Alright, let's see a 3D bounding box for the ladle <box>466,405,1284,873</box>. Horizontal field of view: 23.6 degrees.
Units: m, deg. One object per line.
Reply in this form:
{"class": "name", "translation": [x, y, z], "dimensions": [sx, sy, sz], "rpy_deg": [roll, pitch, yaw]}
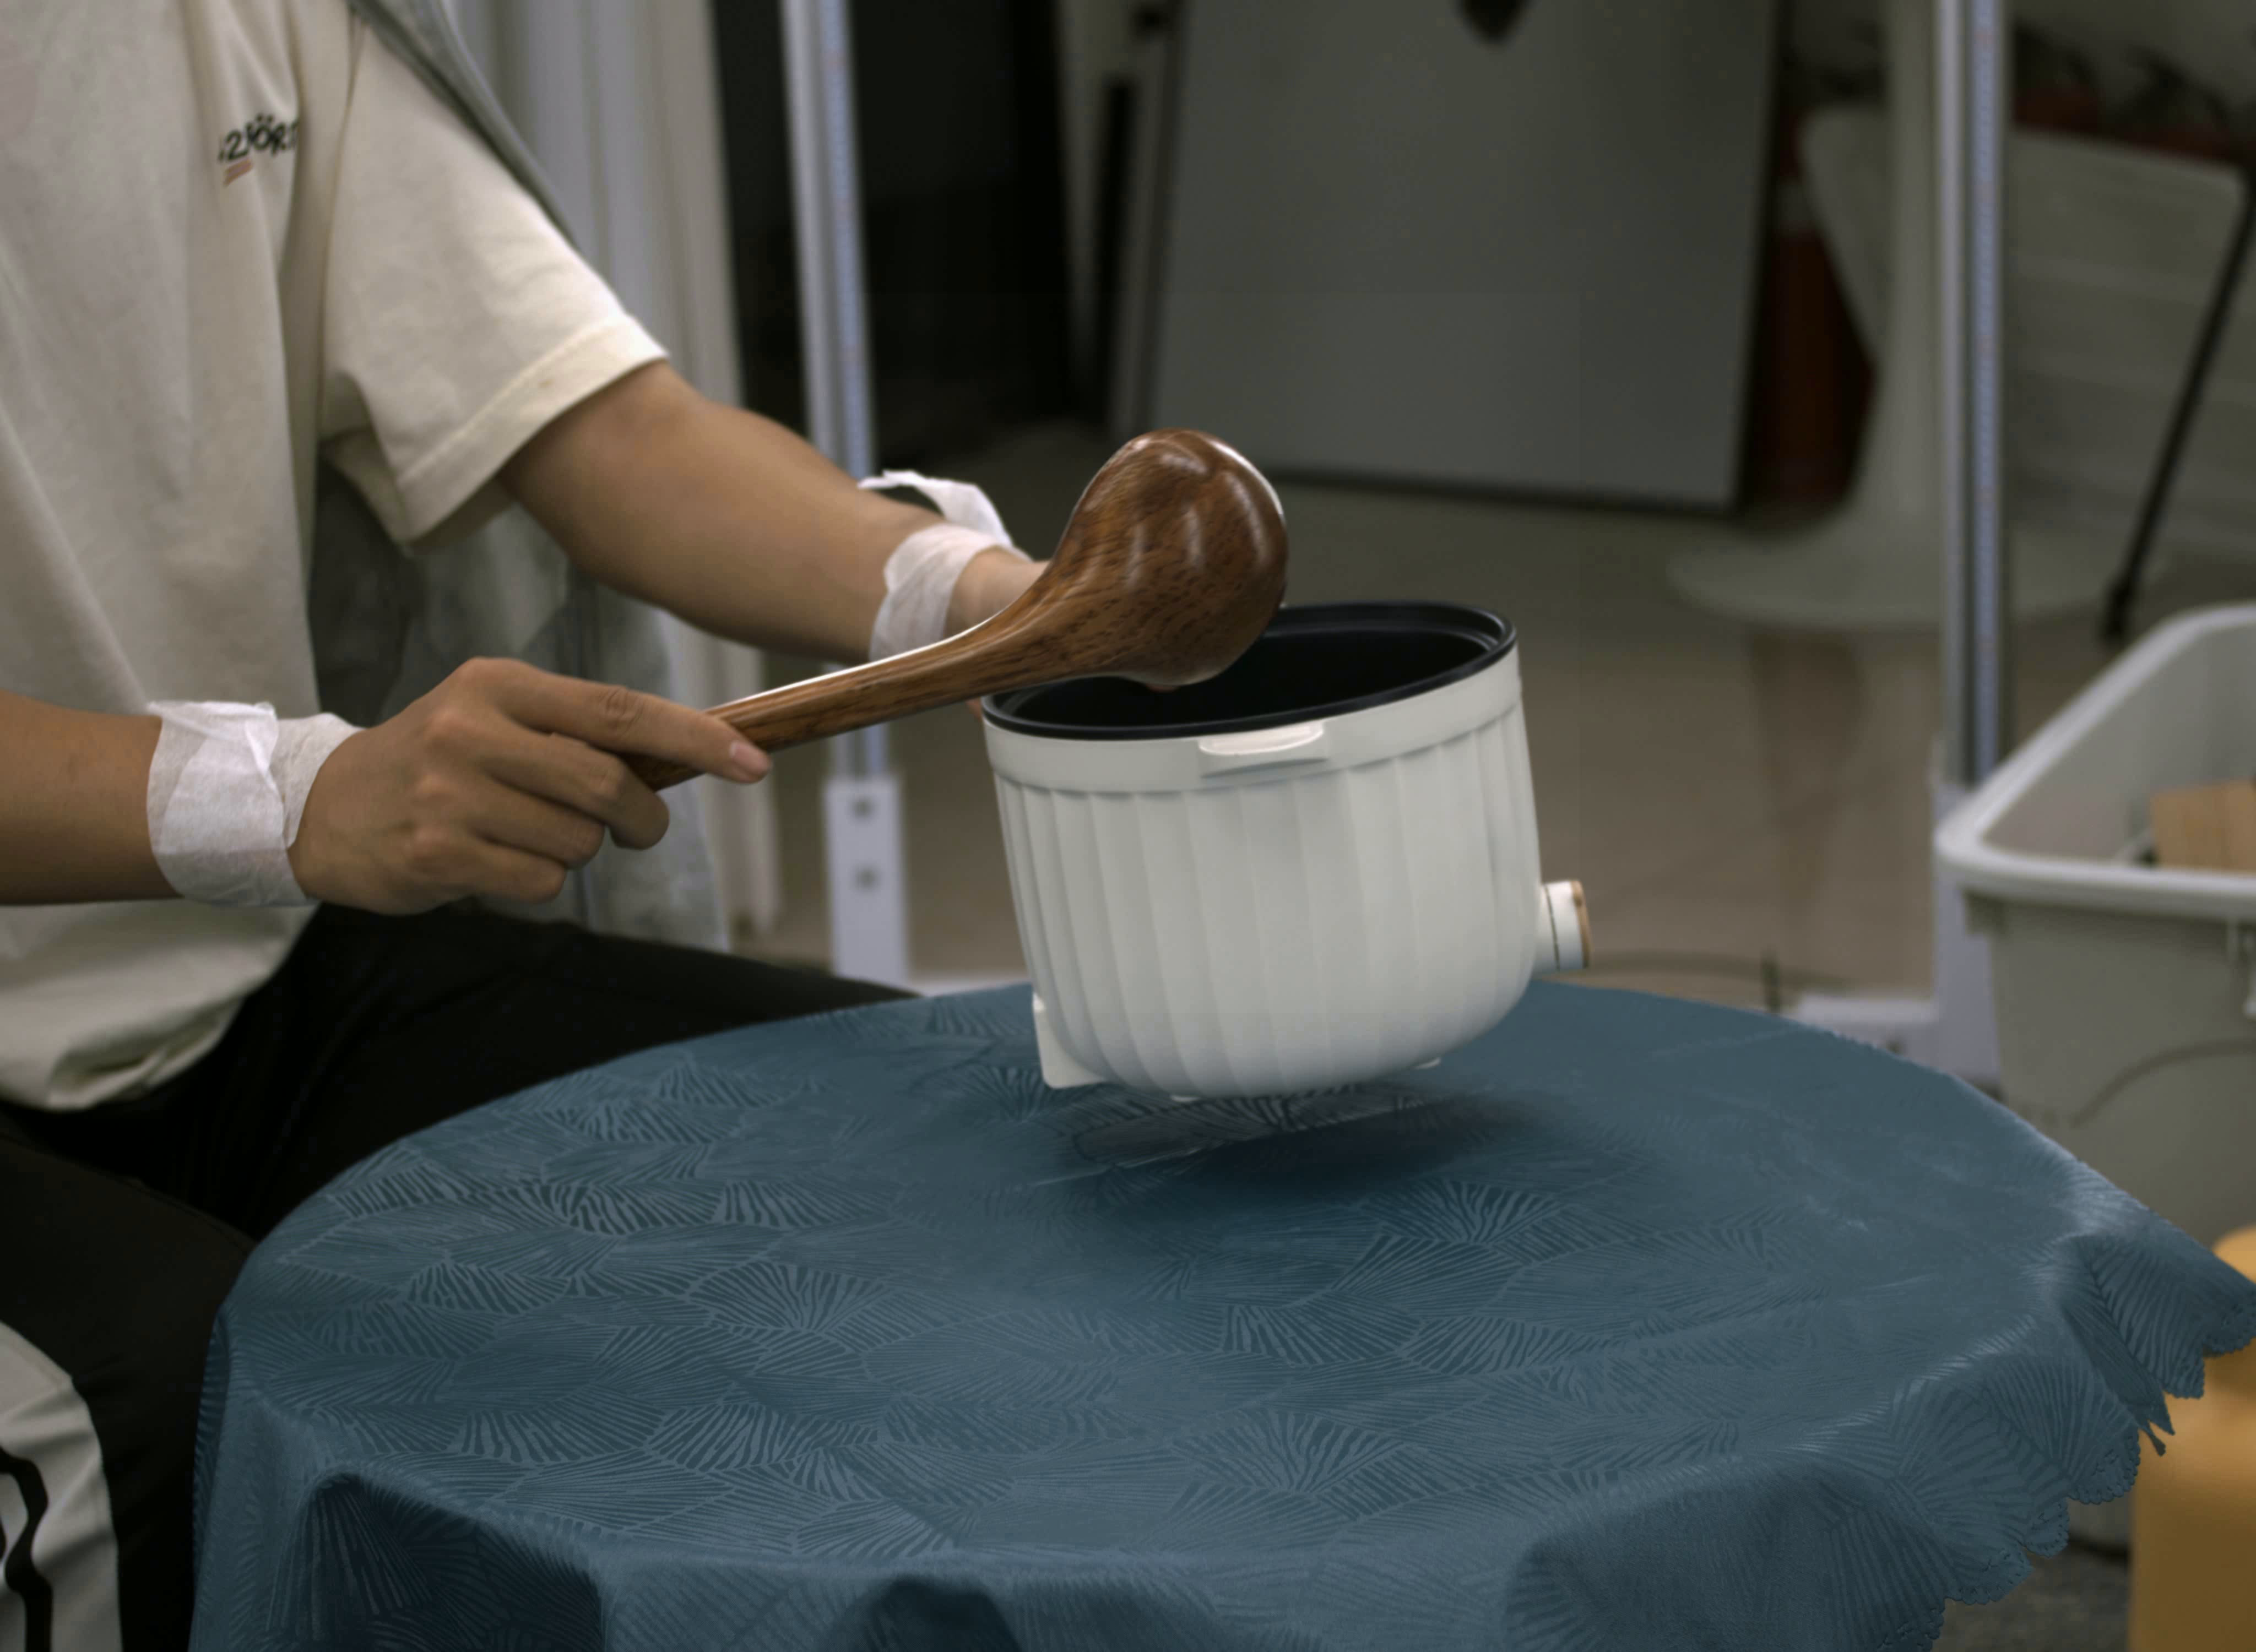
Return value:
{"class": "ladle", "translation": [-0.080, -0.055, 1.692], "dimensions": [0.274, 0.082, 0.076], "rpy_deg": [-19, 20, 18]}

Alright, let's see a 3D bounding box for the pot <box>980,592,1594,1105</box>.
{"class": "pot", "translation": [0.055, 0.008, 1.807], "dimensions": [0.188, 0.144, 0.241], "rpy_deg": [-12, 13, 2]}
